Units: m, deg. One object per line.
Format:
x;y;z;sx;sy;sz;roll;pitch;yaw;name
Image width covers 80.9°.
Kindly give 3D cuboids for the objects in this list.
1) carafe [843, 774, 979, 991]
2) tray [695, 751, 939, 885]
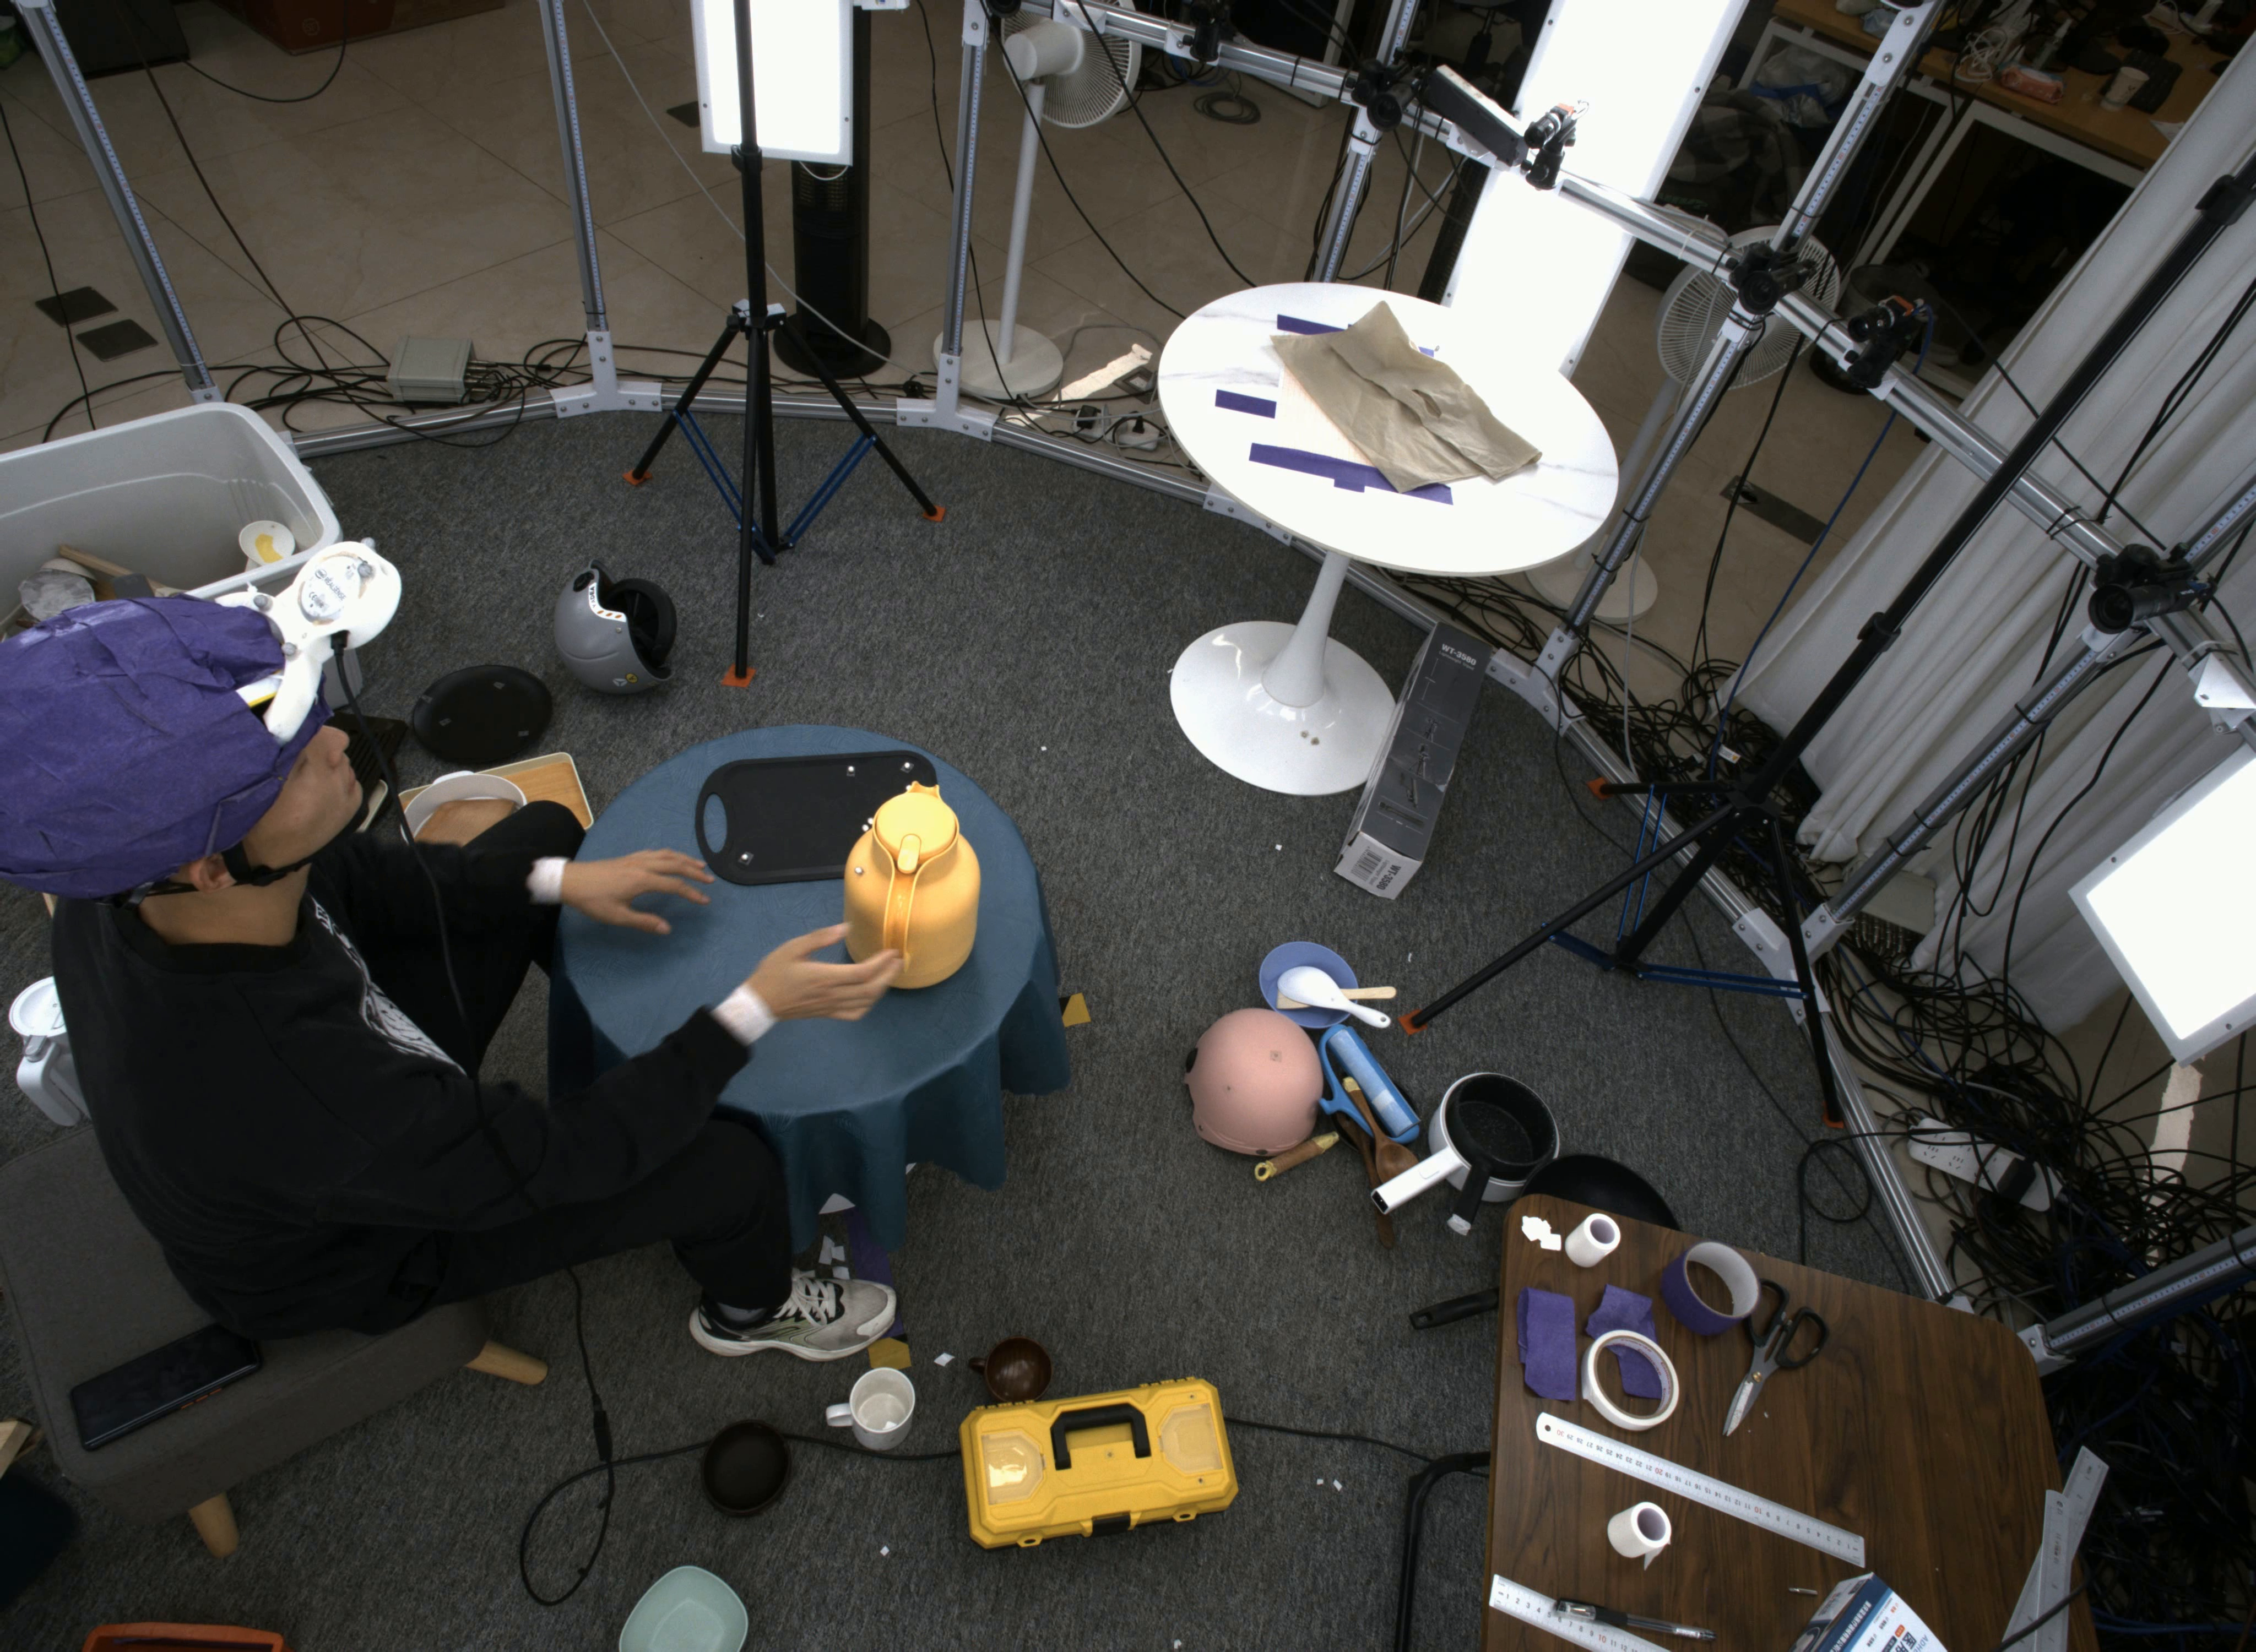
-0.261;0.081;1.533;0.162;0.267;0.199;10;49;-1;carafe
-0.411;-0.016;1.732;0.326;0.010;0.206;-4;55;-17;tray
